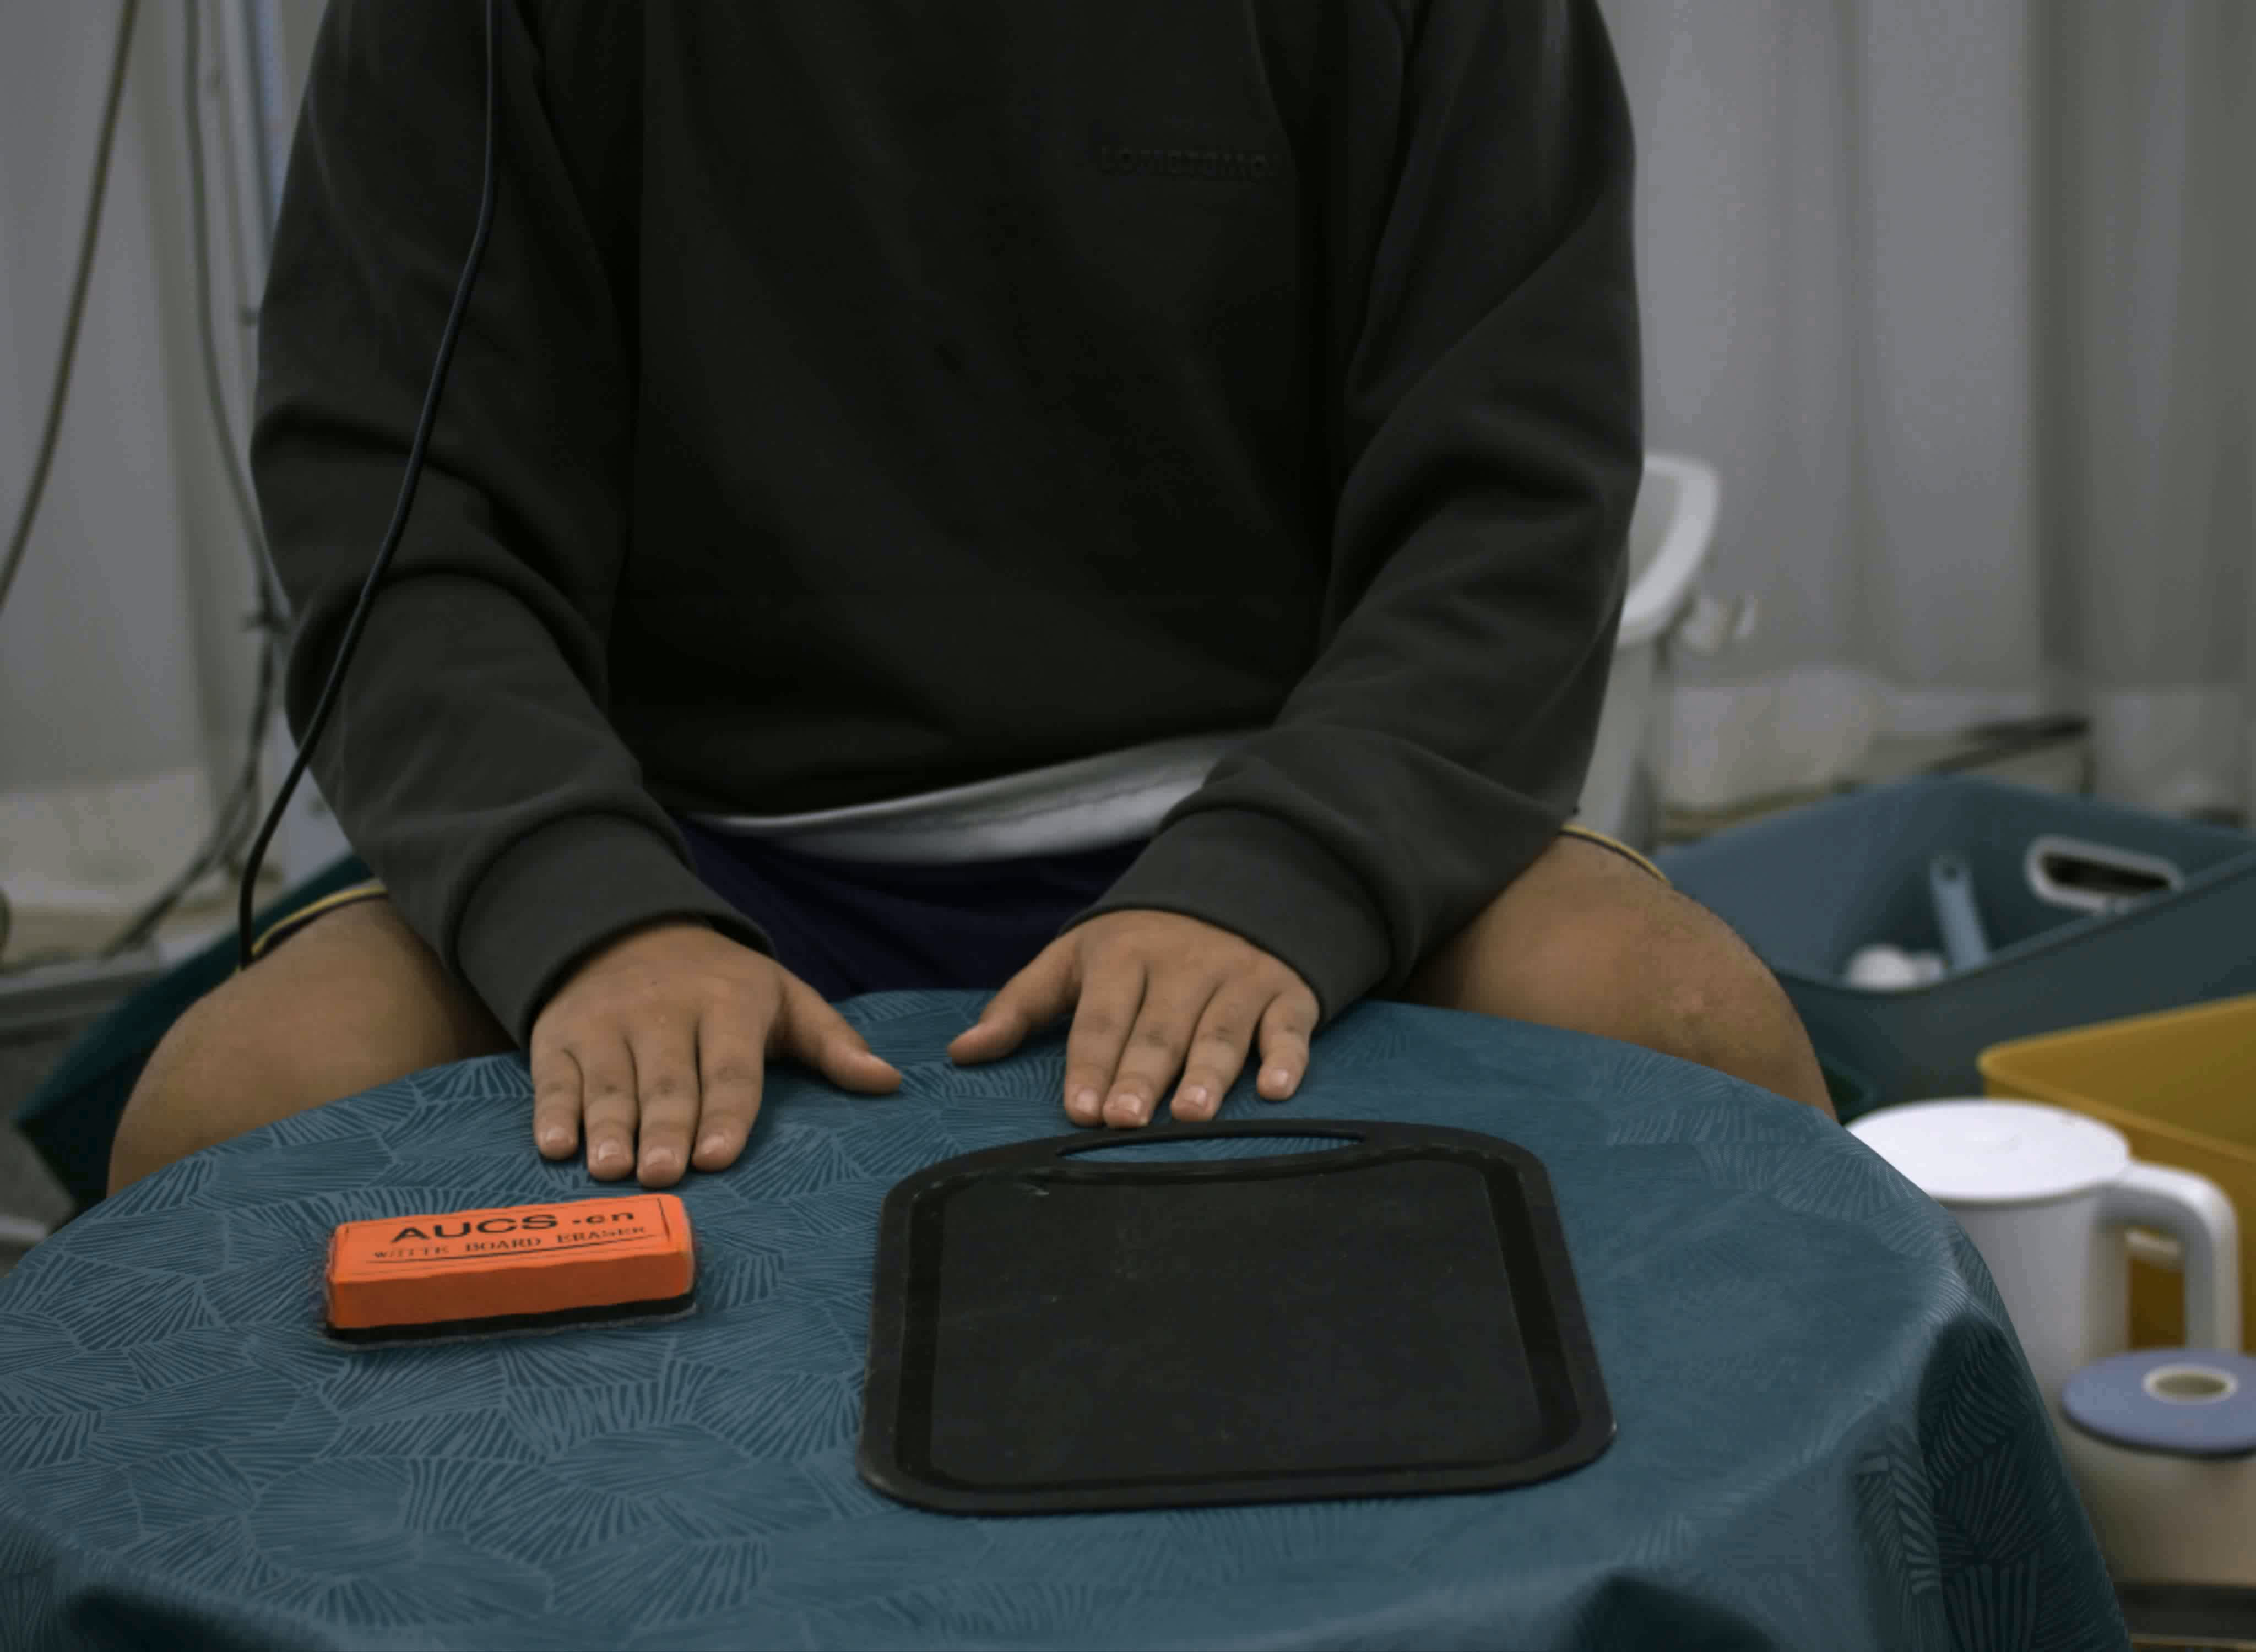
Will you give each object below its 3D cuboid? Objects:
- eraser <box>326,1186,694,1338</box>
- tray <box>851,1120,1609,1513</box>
[{"bbox_3d":[-0.185,0.130,1.637,0.107,0.023,0.059,-4,16,-8],"label":"eraser"},{"bbox_3d":[0.027,0.137,1.613,0.210,0.010,0.327,-2,15,1],"label":"tray"}]
